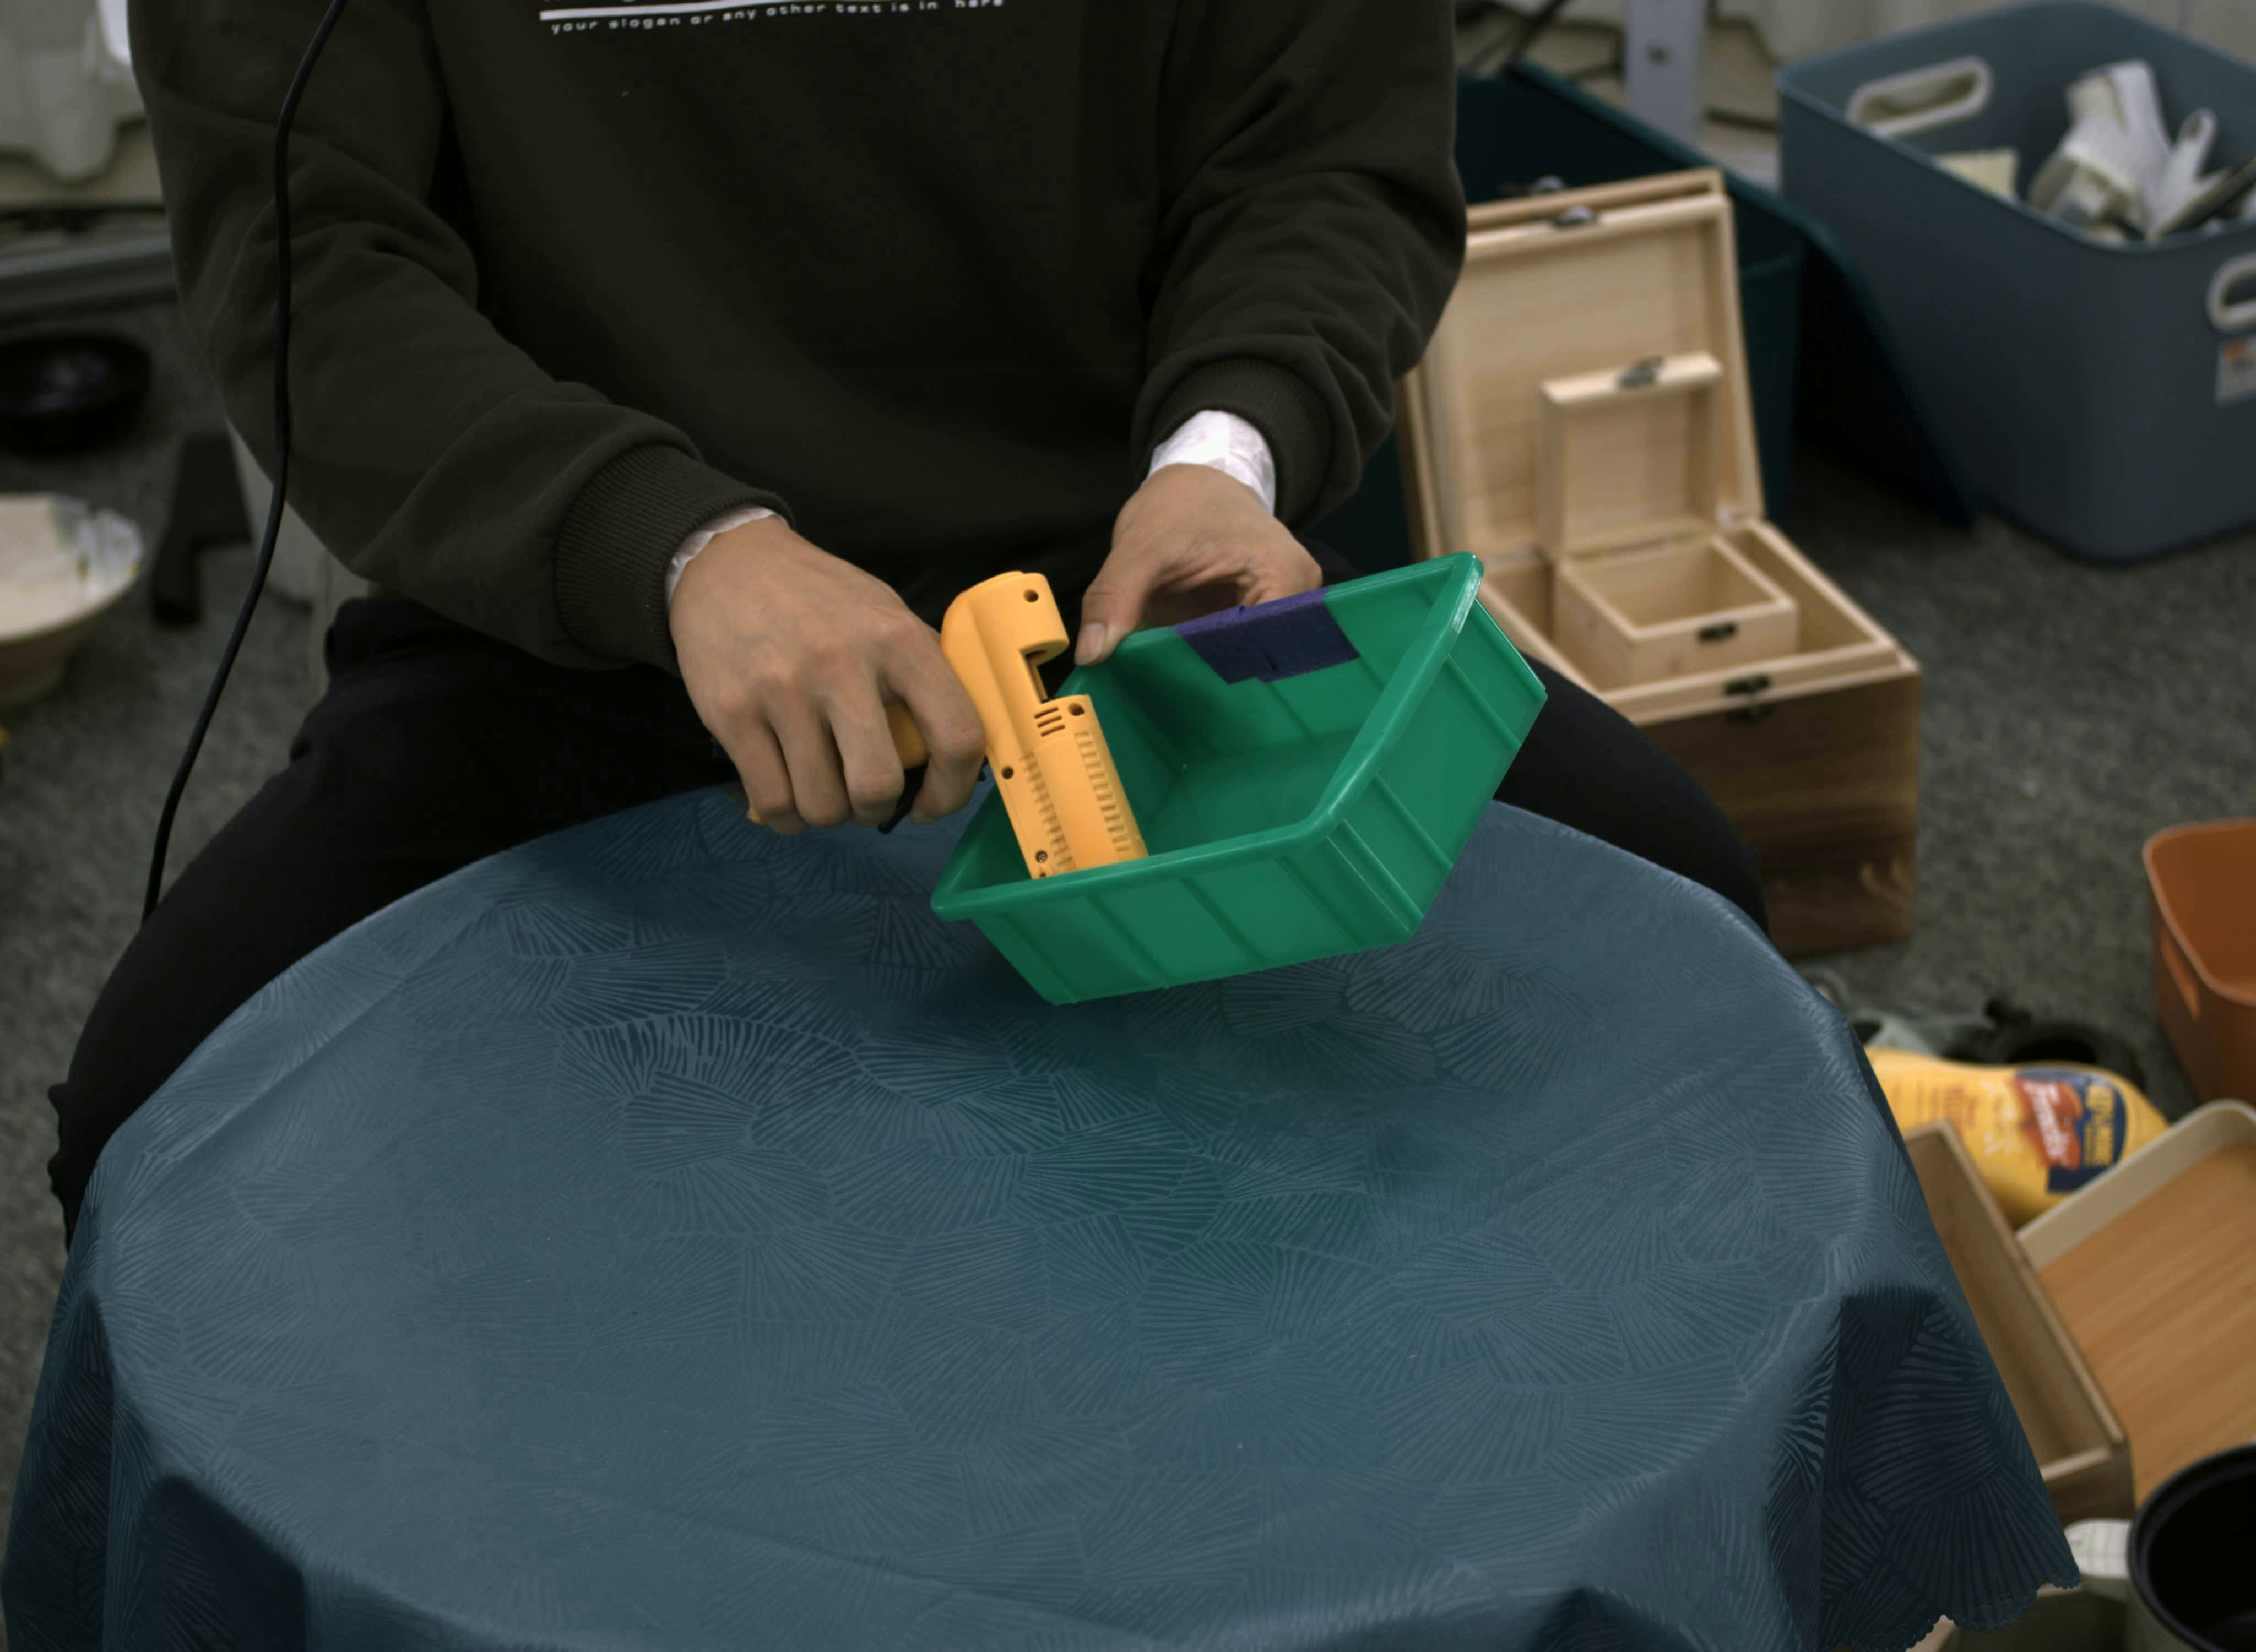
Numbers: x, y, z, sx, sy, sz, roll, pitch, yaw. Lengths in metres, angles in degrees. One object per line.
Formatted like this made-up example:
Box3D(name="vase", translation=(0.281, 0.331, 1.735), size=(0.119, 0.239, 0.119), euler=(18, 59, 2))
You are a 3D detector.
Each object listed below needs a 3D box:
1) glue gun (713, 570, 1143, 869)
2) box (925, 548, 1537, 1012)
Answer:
Box3D(name="glue gun", translation=(-0.059, 0.002, 1.965), size=(0.132, 0.153, 0.031), euler=(-26, -15, 4))
Box3D(name="box", translation=(0.039, -0.010, 1.941), size=(0.207, 0.065, 0.141), euler=(-16, 31, 46))
